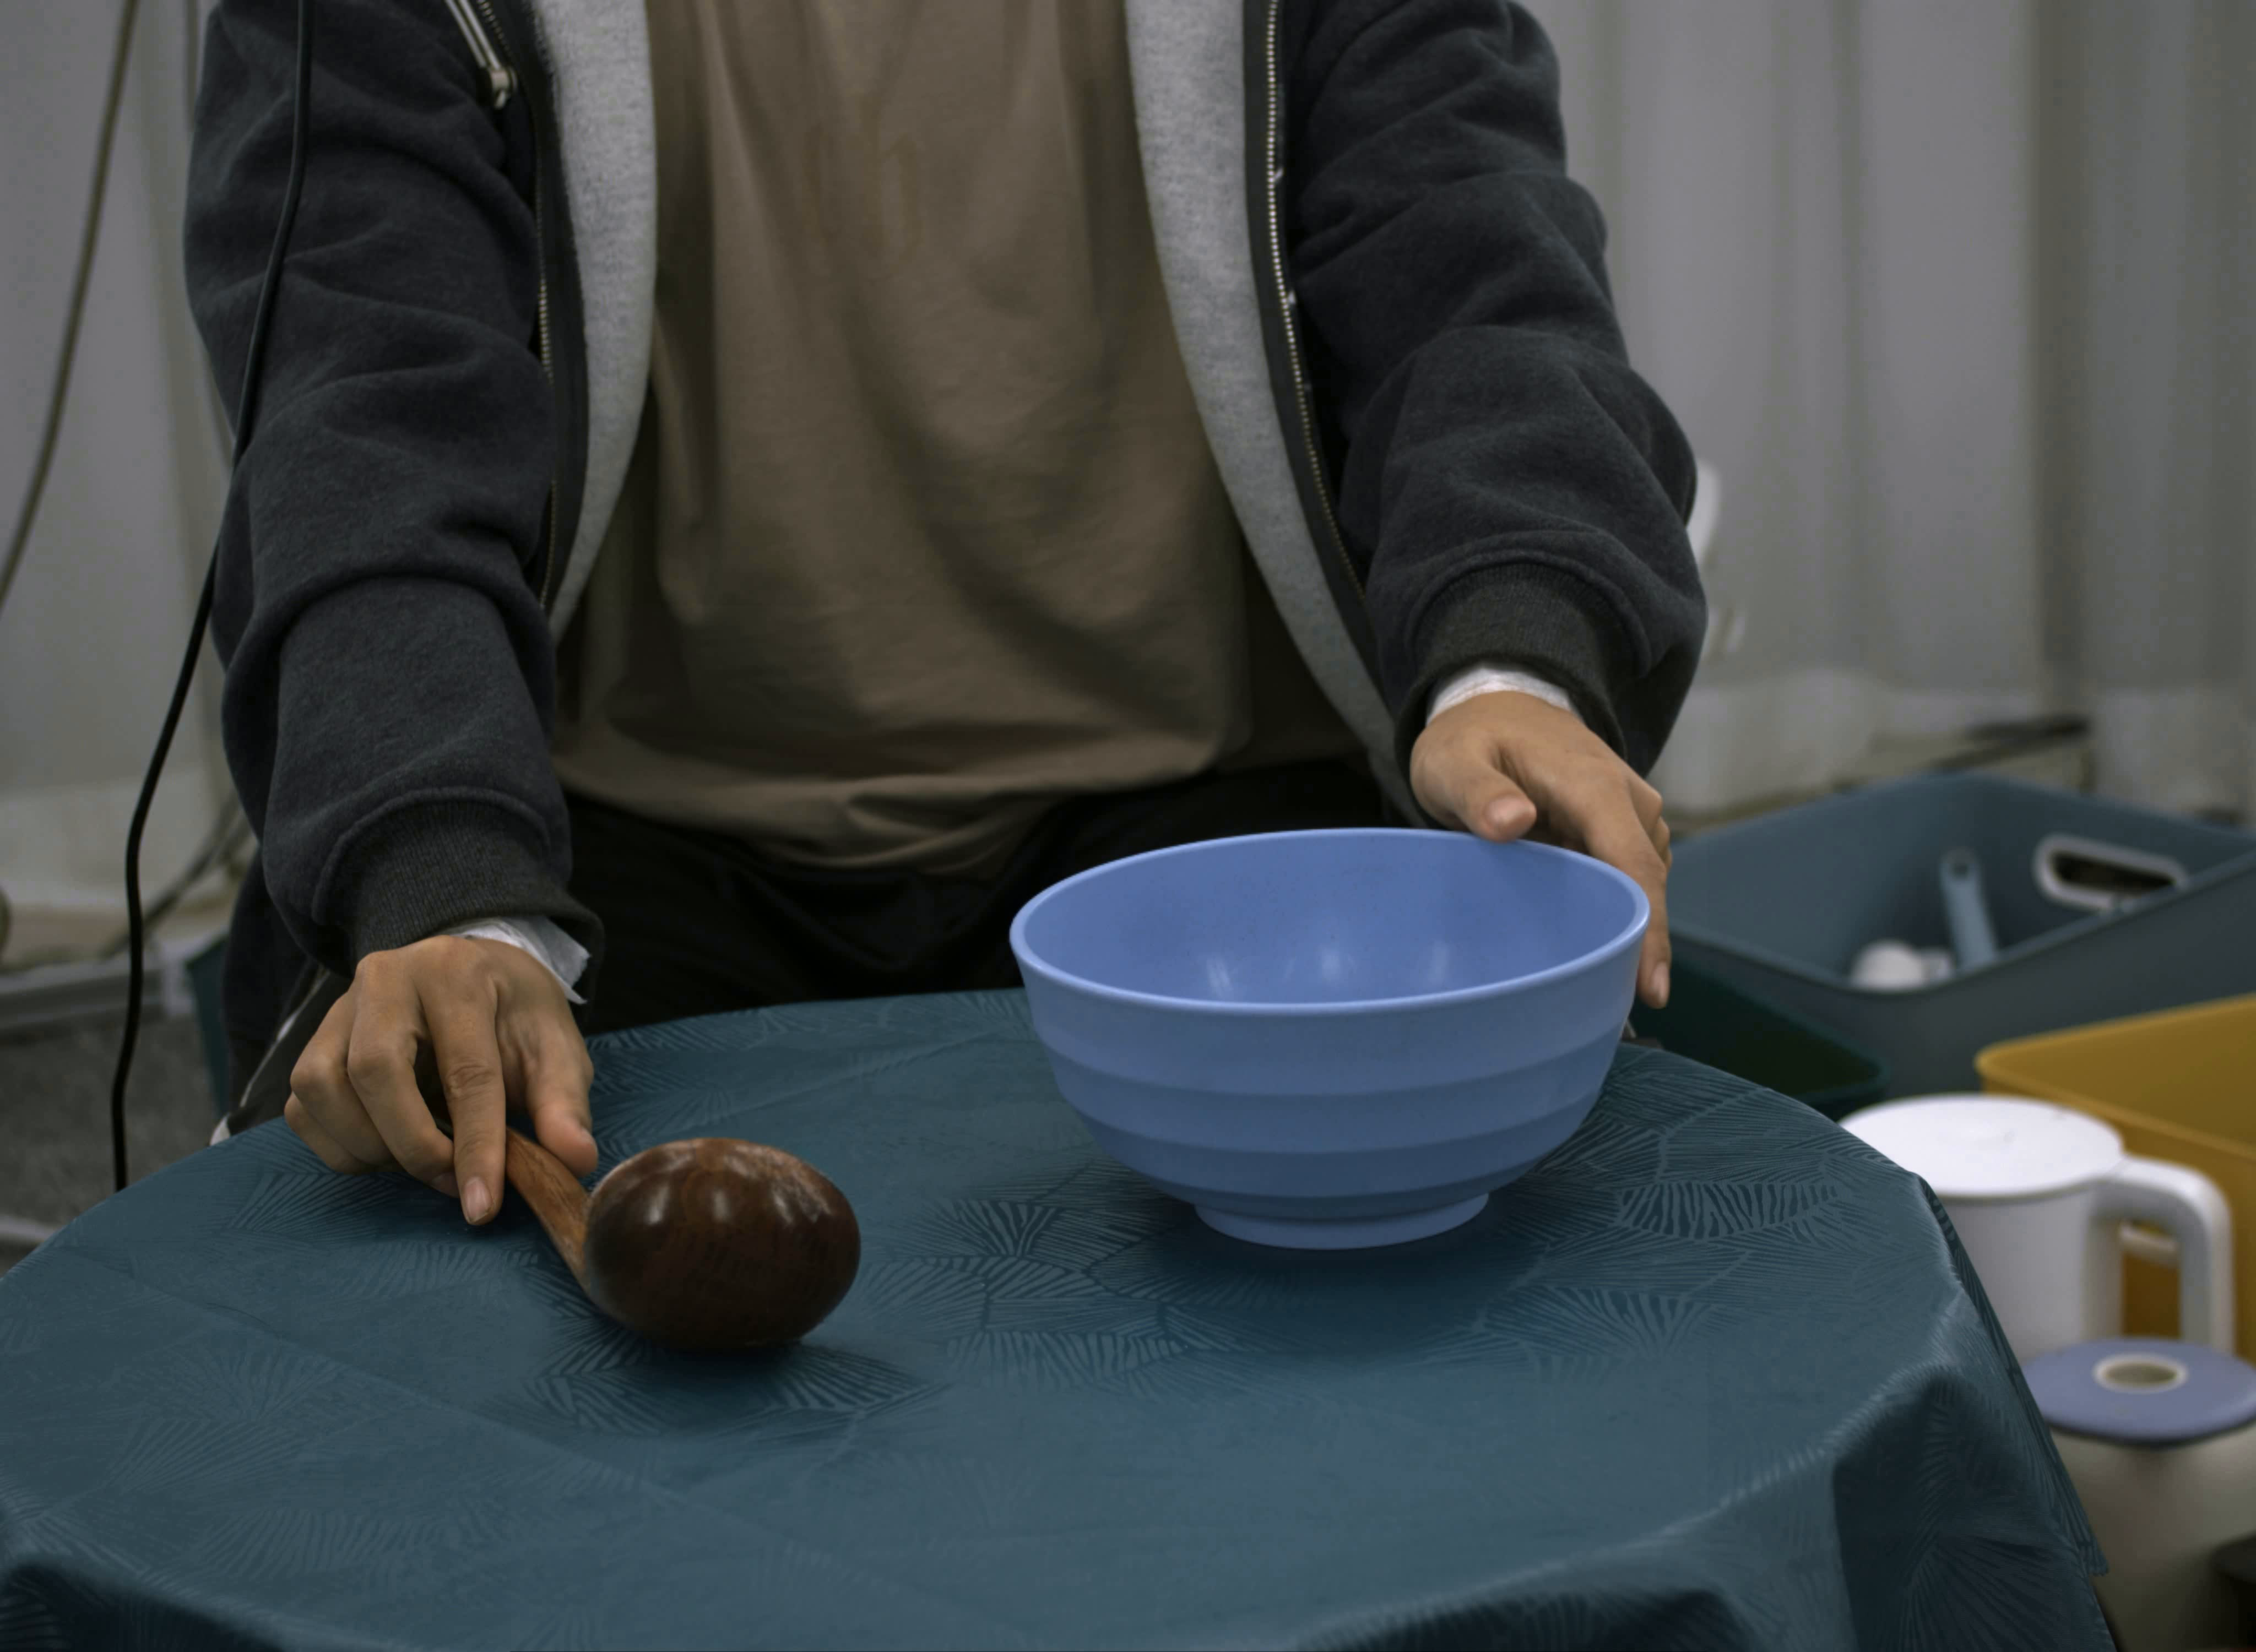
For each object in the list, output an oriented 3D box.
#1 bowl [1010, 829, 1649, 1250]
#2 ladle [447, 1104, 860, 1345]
[{"bbox_3d":[0.064,0.071,1.684,0.196,0.095,0.198,-3,15,1],"label":"bowl"},{"bbox_3d":[-0.155,0.098,1.673,0.081,0.077,0.276,35,-1,-22],"label":"ladle"}]
